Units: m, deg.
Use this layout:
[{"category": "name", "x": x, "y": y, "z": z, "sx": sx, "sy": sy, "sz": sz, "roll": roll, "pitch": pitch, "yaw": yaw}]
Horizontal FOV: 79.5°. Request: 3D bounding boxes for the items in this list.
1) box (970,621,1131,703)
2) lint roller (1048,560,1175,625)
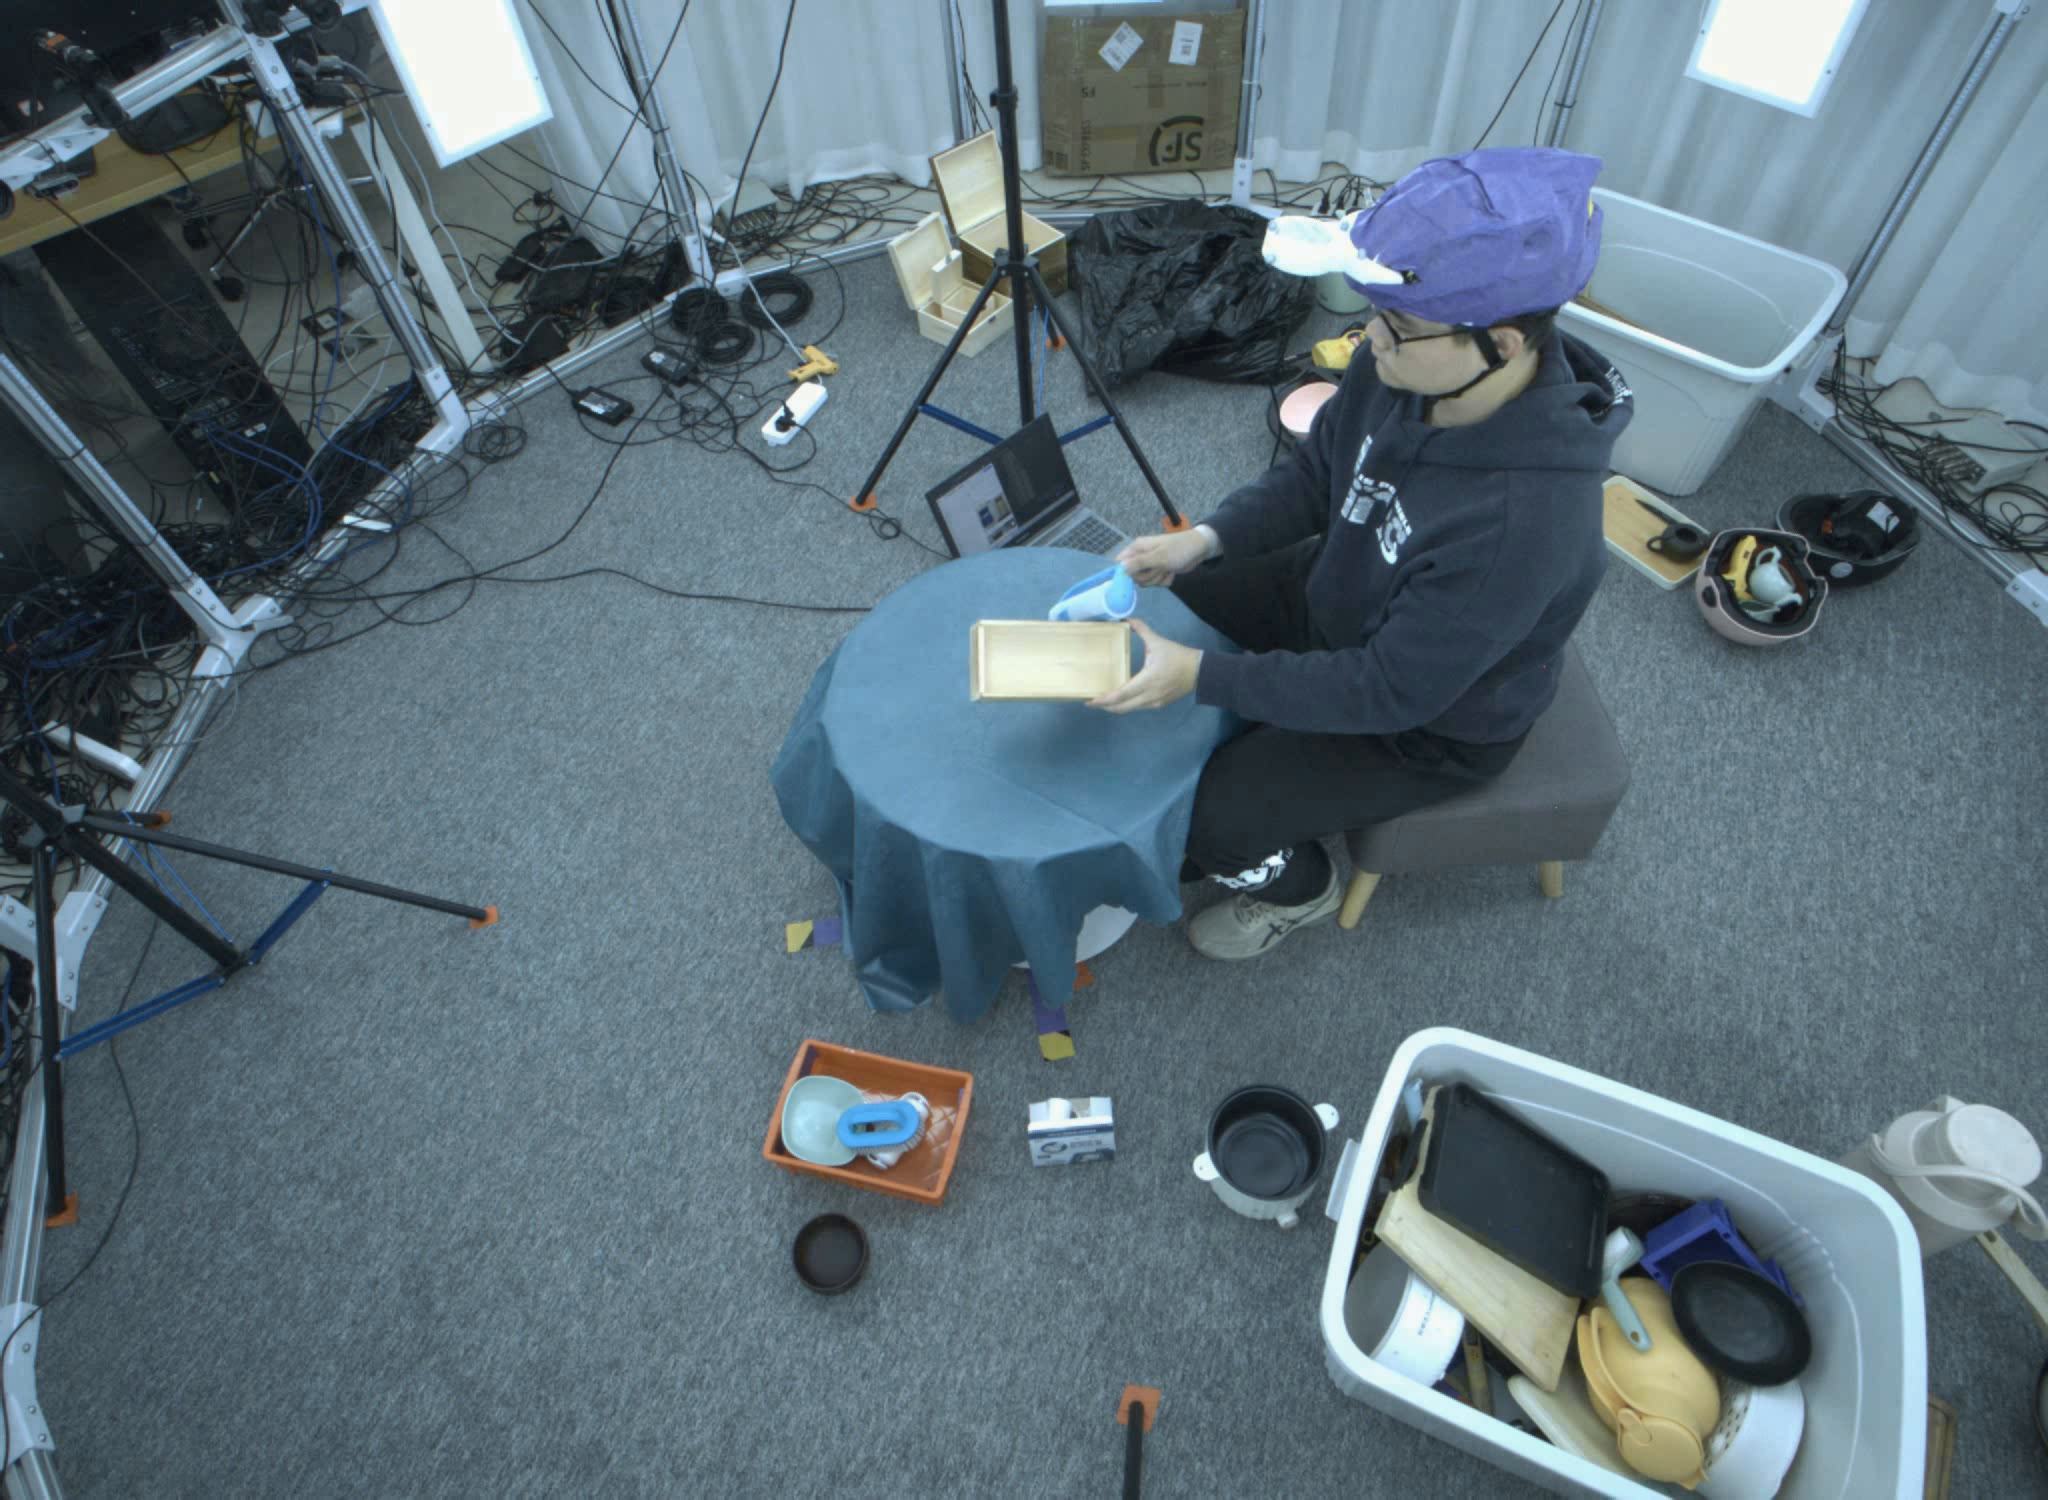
[{"category": "box", "x": 0.036, "y": -0.121, "z": 1.708, "sx": 0.213, "sy": 0.079, "sz": 0.107, "roll": -1, "pitch": 90, "yaw": -14}, {"category": "lint roller", "x": 0.135, "y": -0.236, "z": 1.774, "sx": 0.181, "sy": 0.226, "sz": 0.068, "roll": -40, "pitch": 99, "yaw": -20}]
